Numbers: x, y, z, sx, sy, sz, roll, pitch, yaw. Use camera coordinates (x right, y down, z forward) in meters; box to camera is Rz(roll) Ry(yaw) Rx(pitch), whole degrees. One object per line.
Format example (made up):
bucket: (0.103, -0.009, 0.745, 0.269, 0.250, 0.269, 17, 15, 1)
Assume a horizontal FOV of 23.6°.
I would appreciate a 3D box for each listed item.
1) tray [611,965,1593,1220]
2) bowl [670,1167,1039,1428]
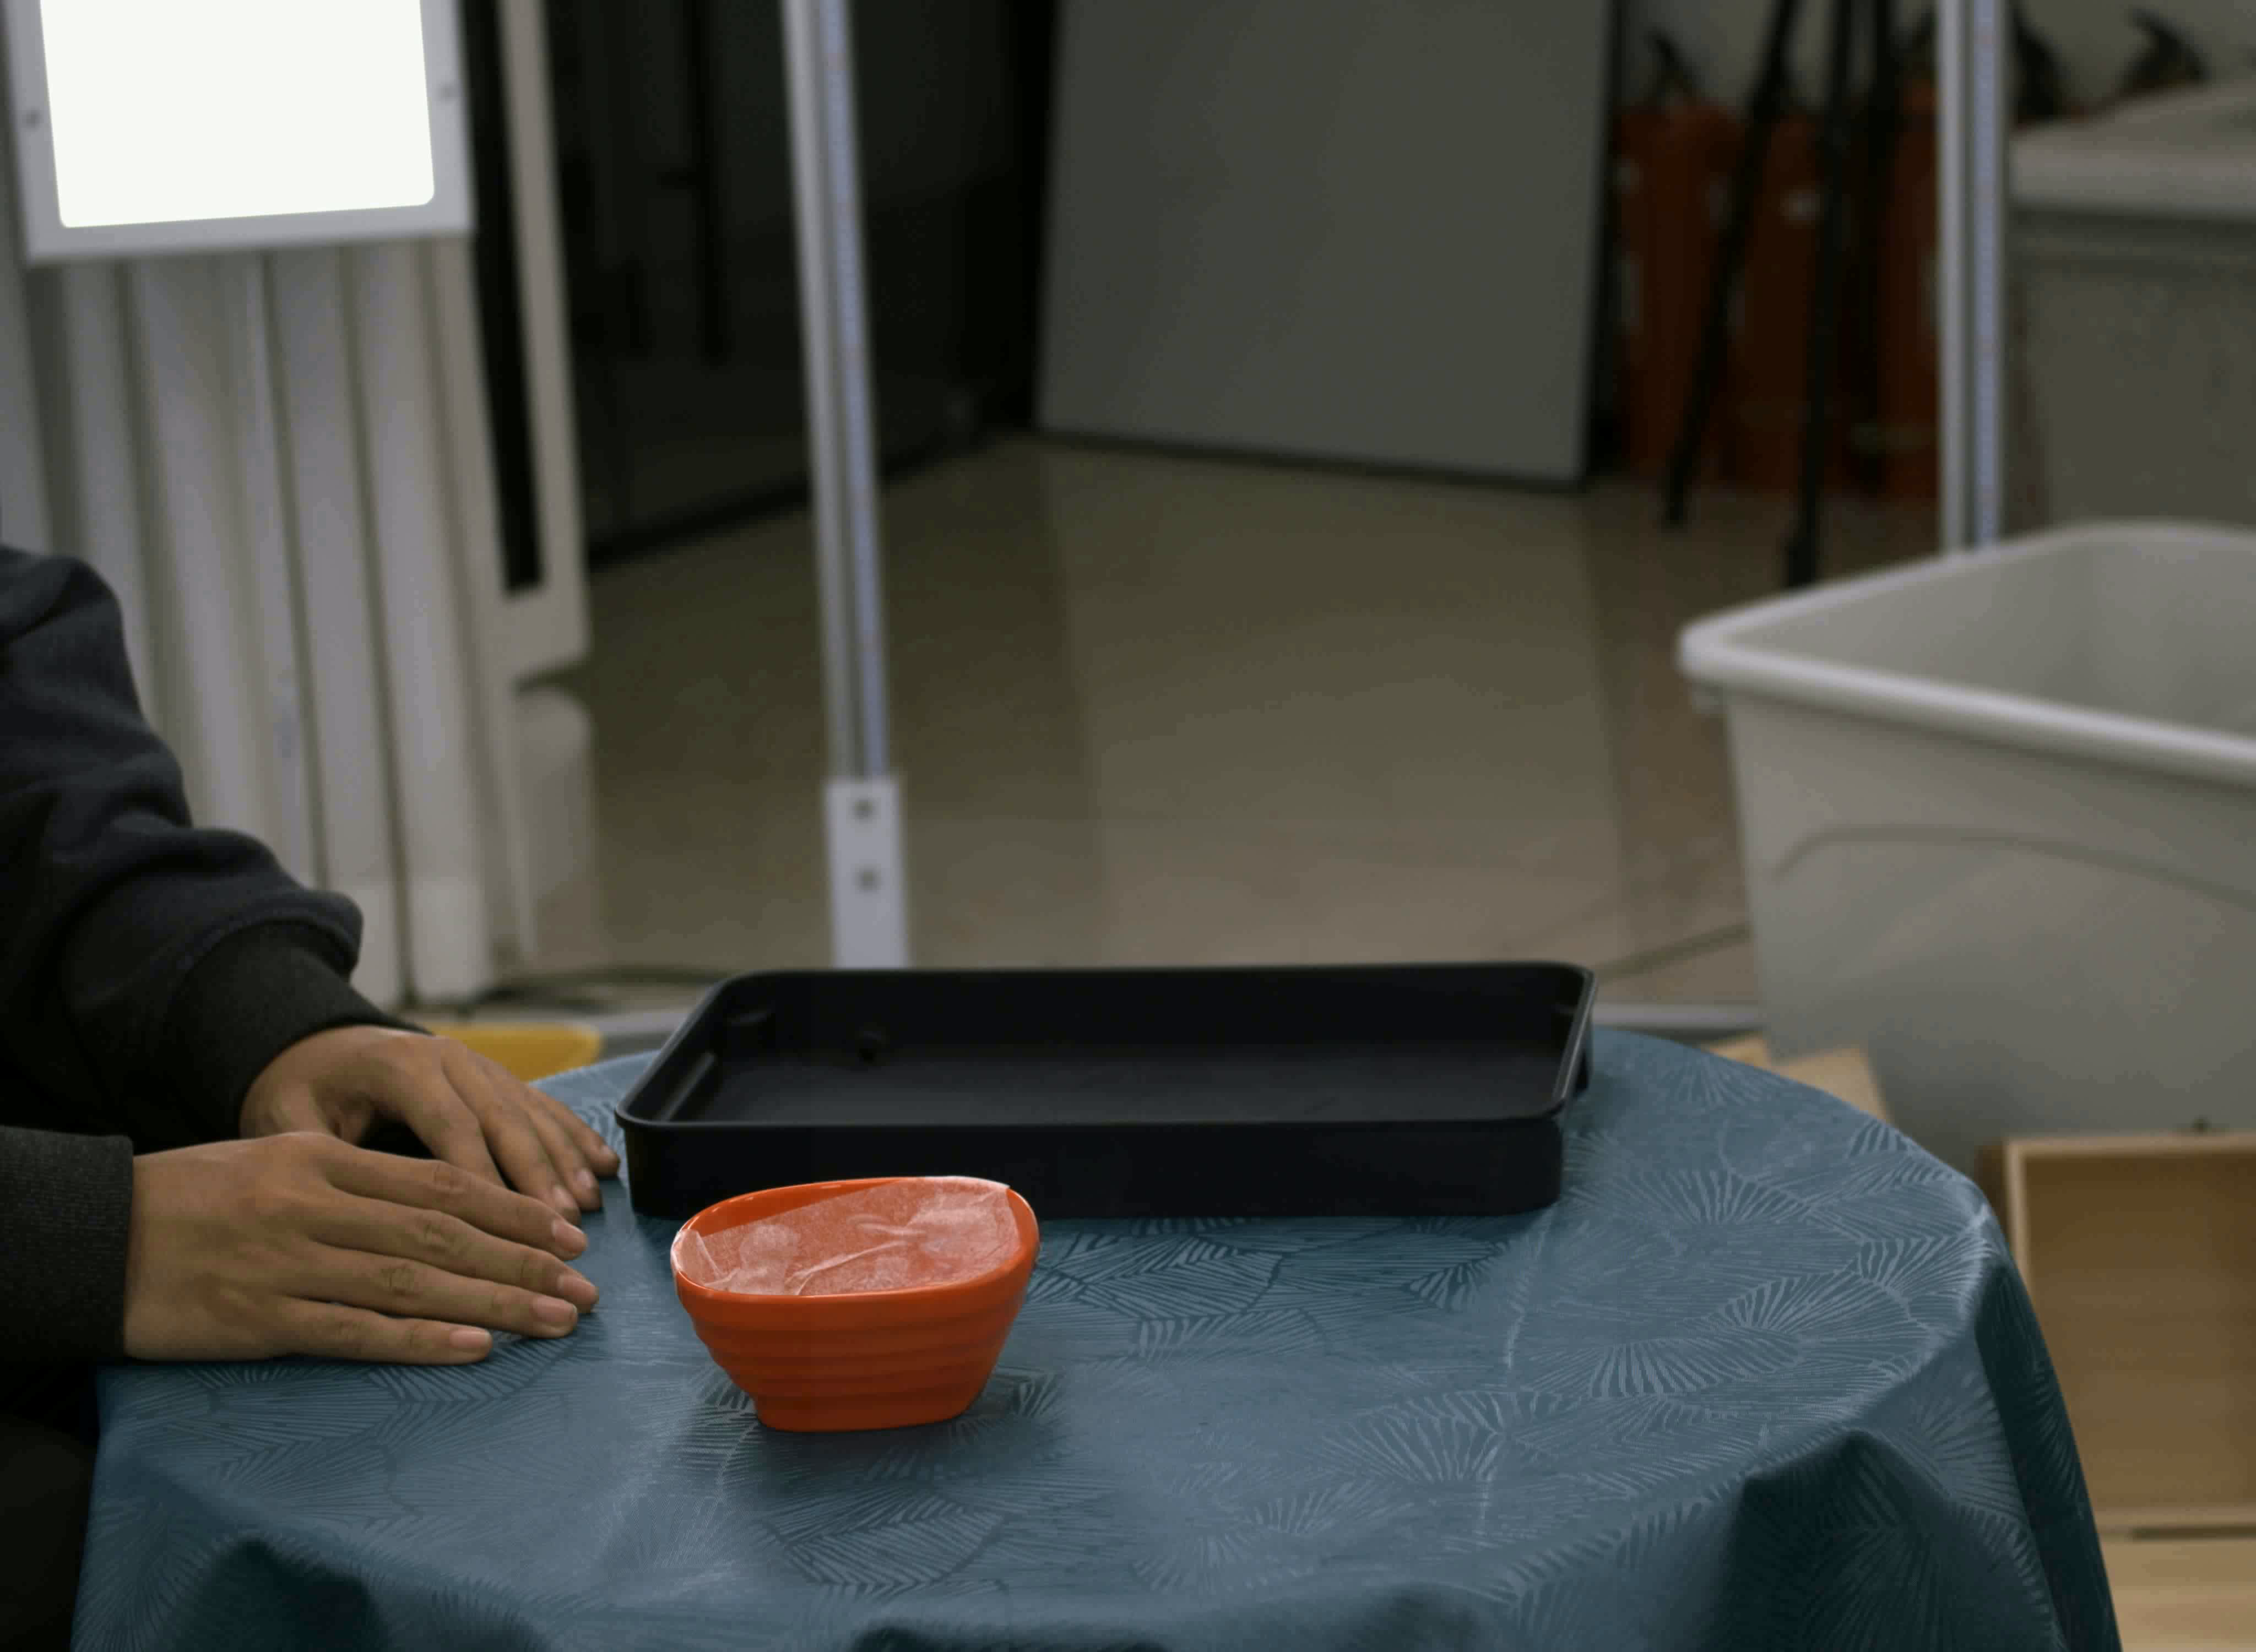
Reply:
tray: (-0.004, 0.088, 1.823, 0.316, 0.037, 0.183, -1, 14, 11)
bowl: (-0.079, 0.142, 1.591, 0.117, 0.052, 0.119, -2, 15, 0)
